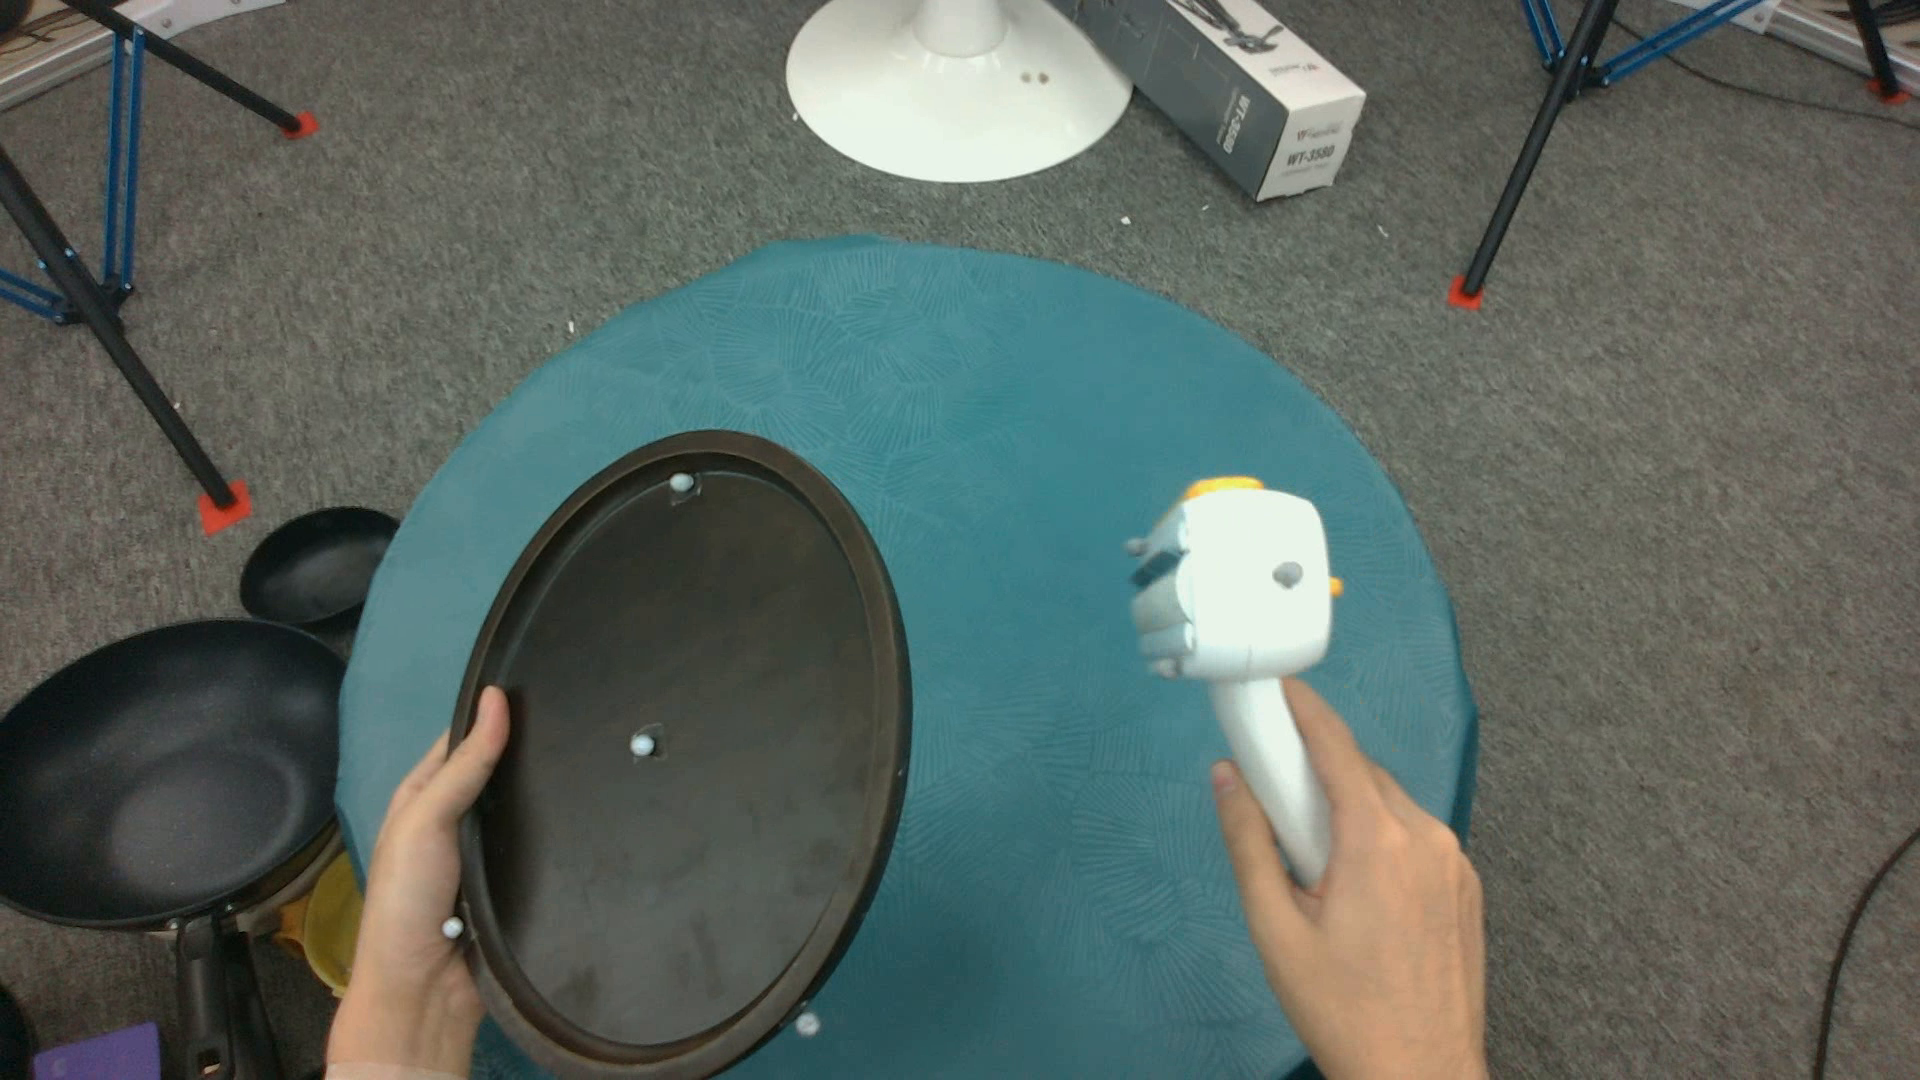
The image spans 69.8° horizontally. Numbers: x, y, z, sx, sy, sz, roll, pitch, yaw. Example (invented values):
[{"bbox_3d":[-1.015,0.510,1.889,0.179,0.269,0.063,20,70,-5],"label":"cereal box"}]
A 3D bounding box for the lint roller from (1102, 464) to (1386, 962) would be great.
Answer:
[{"bbox_3d":[0.110,0.069,0.522,0.074,0.192,0.192,-13,88,-6],"label":"lint roller"}]

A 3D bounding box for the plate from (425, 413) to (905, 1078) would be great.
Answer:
[{"bbox_3d":[-0.122,0.073,0.537,0.254,0.029,0.255,-10,73,34],"label":"plate"}]
